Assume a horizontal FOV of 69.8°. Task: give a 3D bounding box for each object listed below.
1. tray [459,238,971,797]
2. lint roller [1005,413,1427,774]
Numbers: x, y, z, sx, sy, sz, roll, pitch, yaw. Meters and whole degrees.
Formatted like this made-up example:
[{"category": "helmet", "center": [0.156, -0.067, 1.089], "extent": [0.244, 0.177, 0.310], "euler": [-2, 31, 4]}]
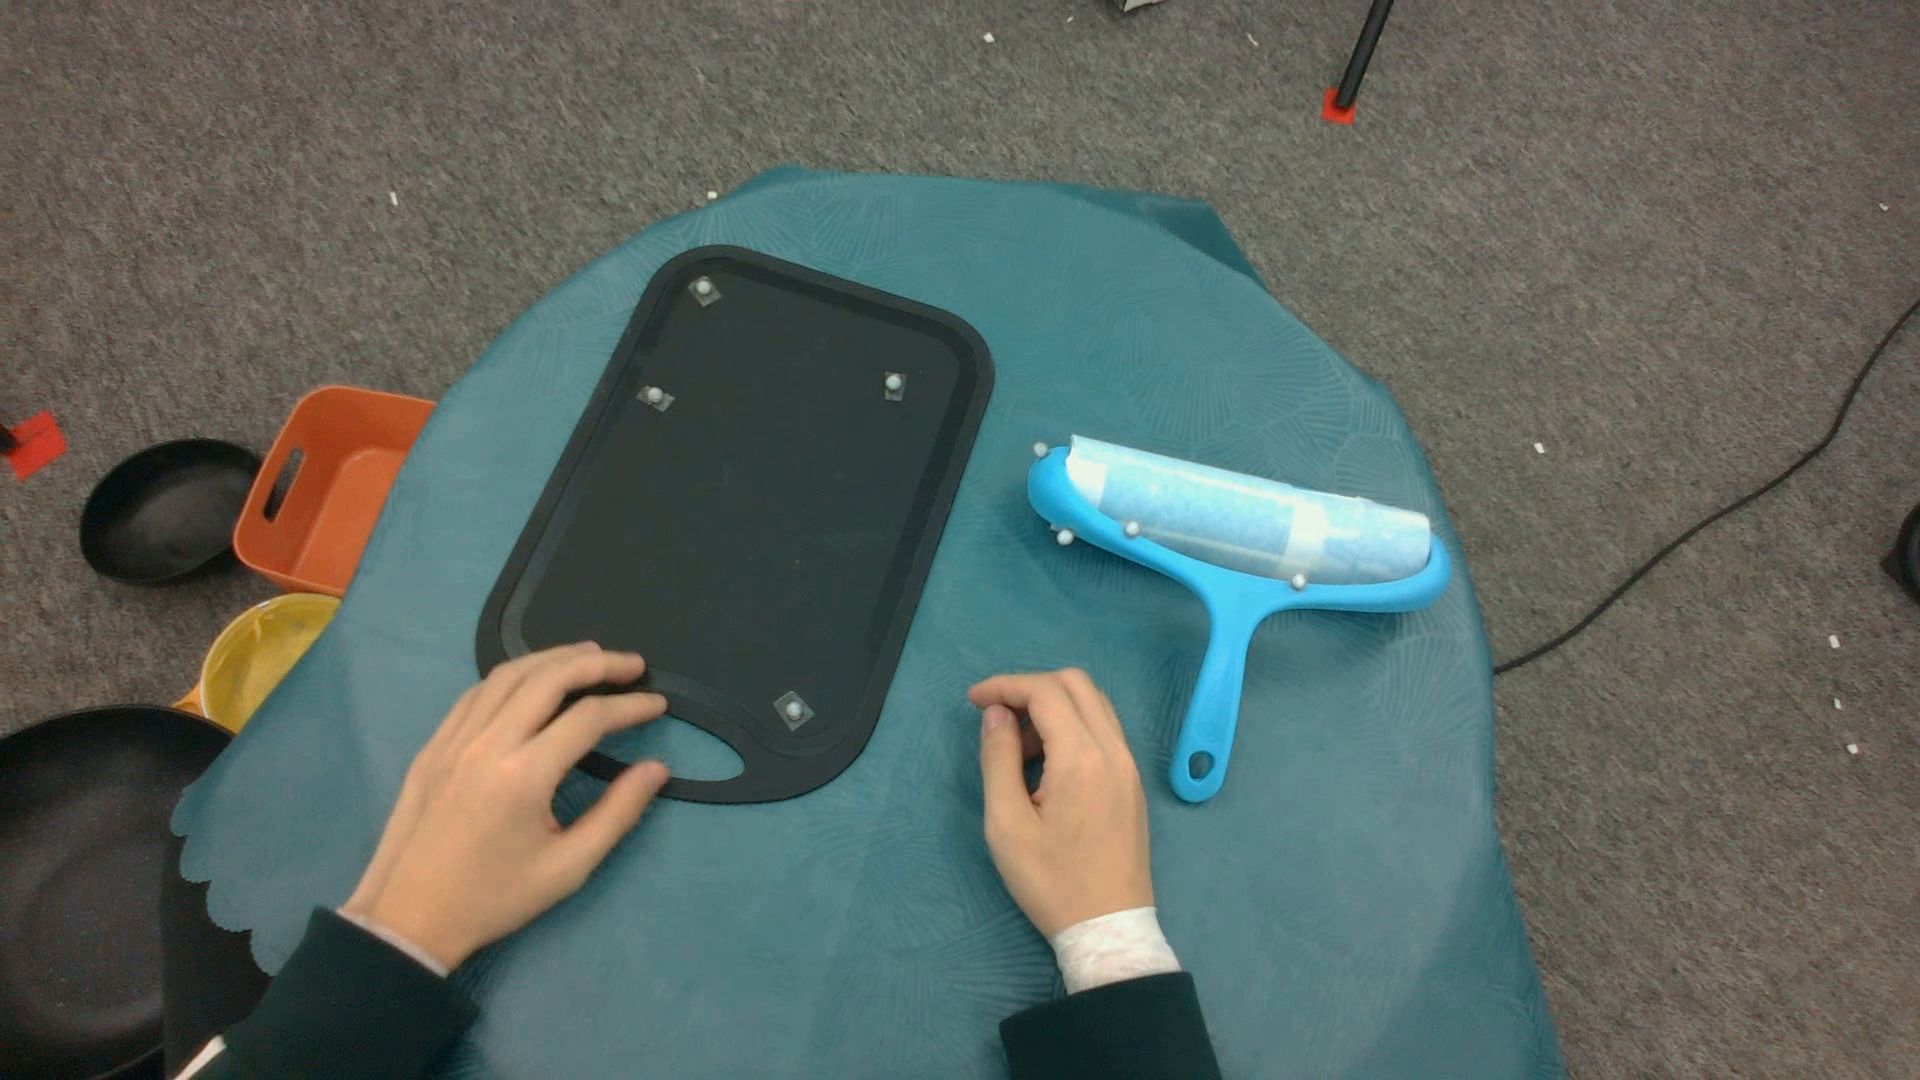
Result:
[{"category": "tray", "center": [-0.125, -0.022, 0.741], "extent": [0.211, 0.010, 0.327], "euler": [16, 64, 2]}, {"category": "lint roller", "center": [0.130, 0.027, 0.715], "extent": [0.229, 0.067, 0.181], "euler": [9, 62, -3]}]
